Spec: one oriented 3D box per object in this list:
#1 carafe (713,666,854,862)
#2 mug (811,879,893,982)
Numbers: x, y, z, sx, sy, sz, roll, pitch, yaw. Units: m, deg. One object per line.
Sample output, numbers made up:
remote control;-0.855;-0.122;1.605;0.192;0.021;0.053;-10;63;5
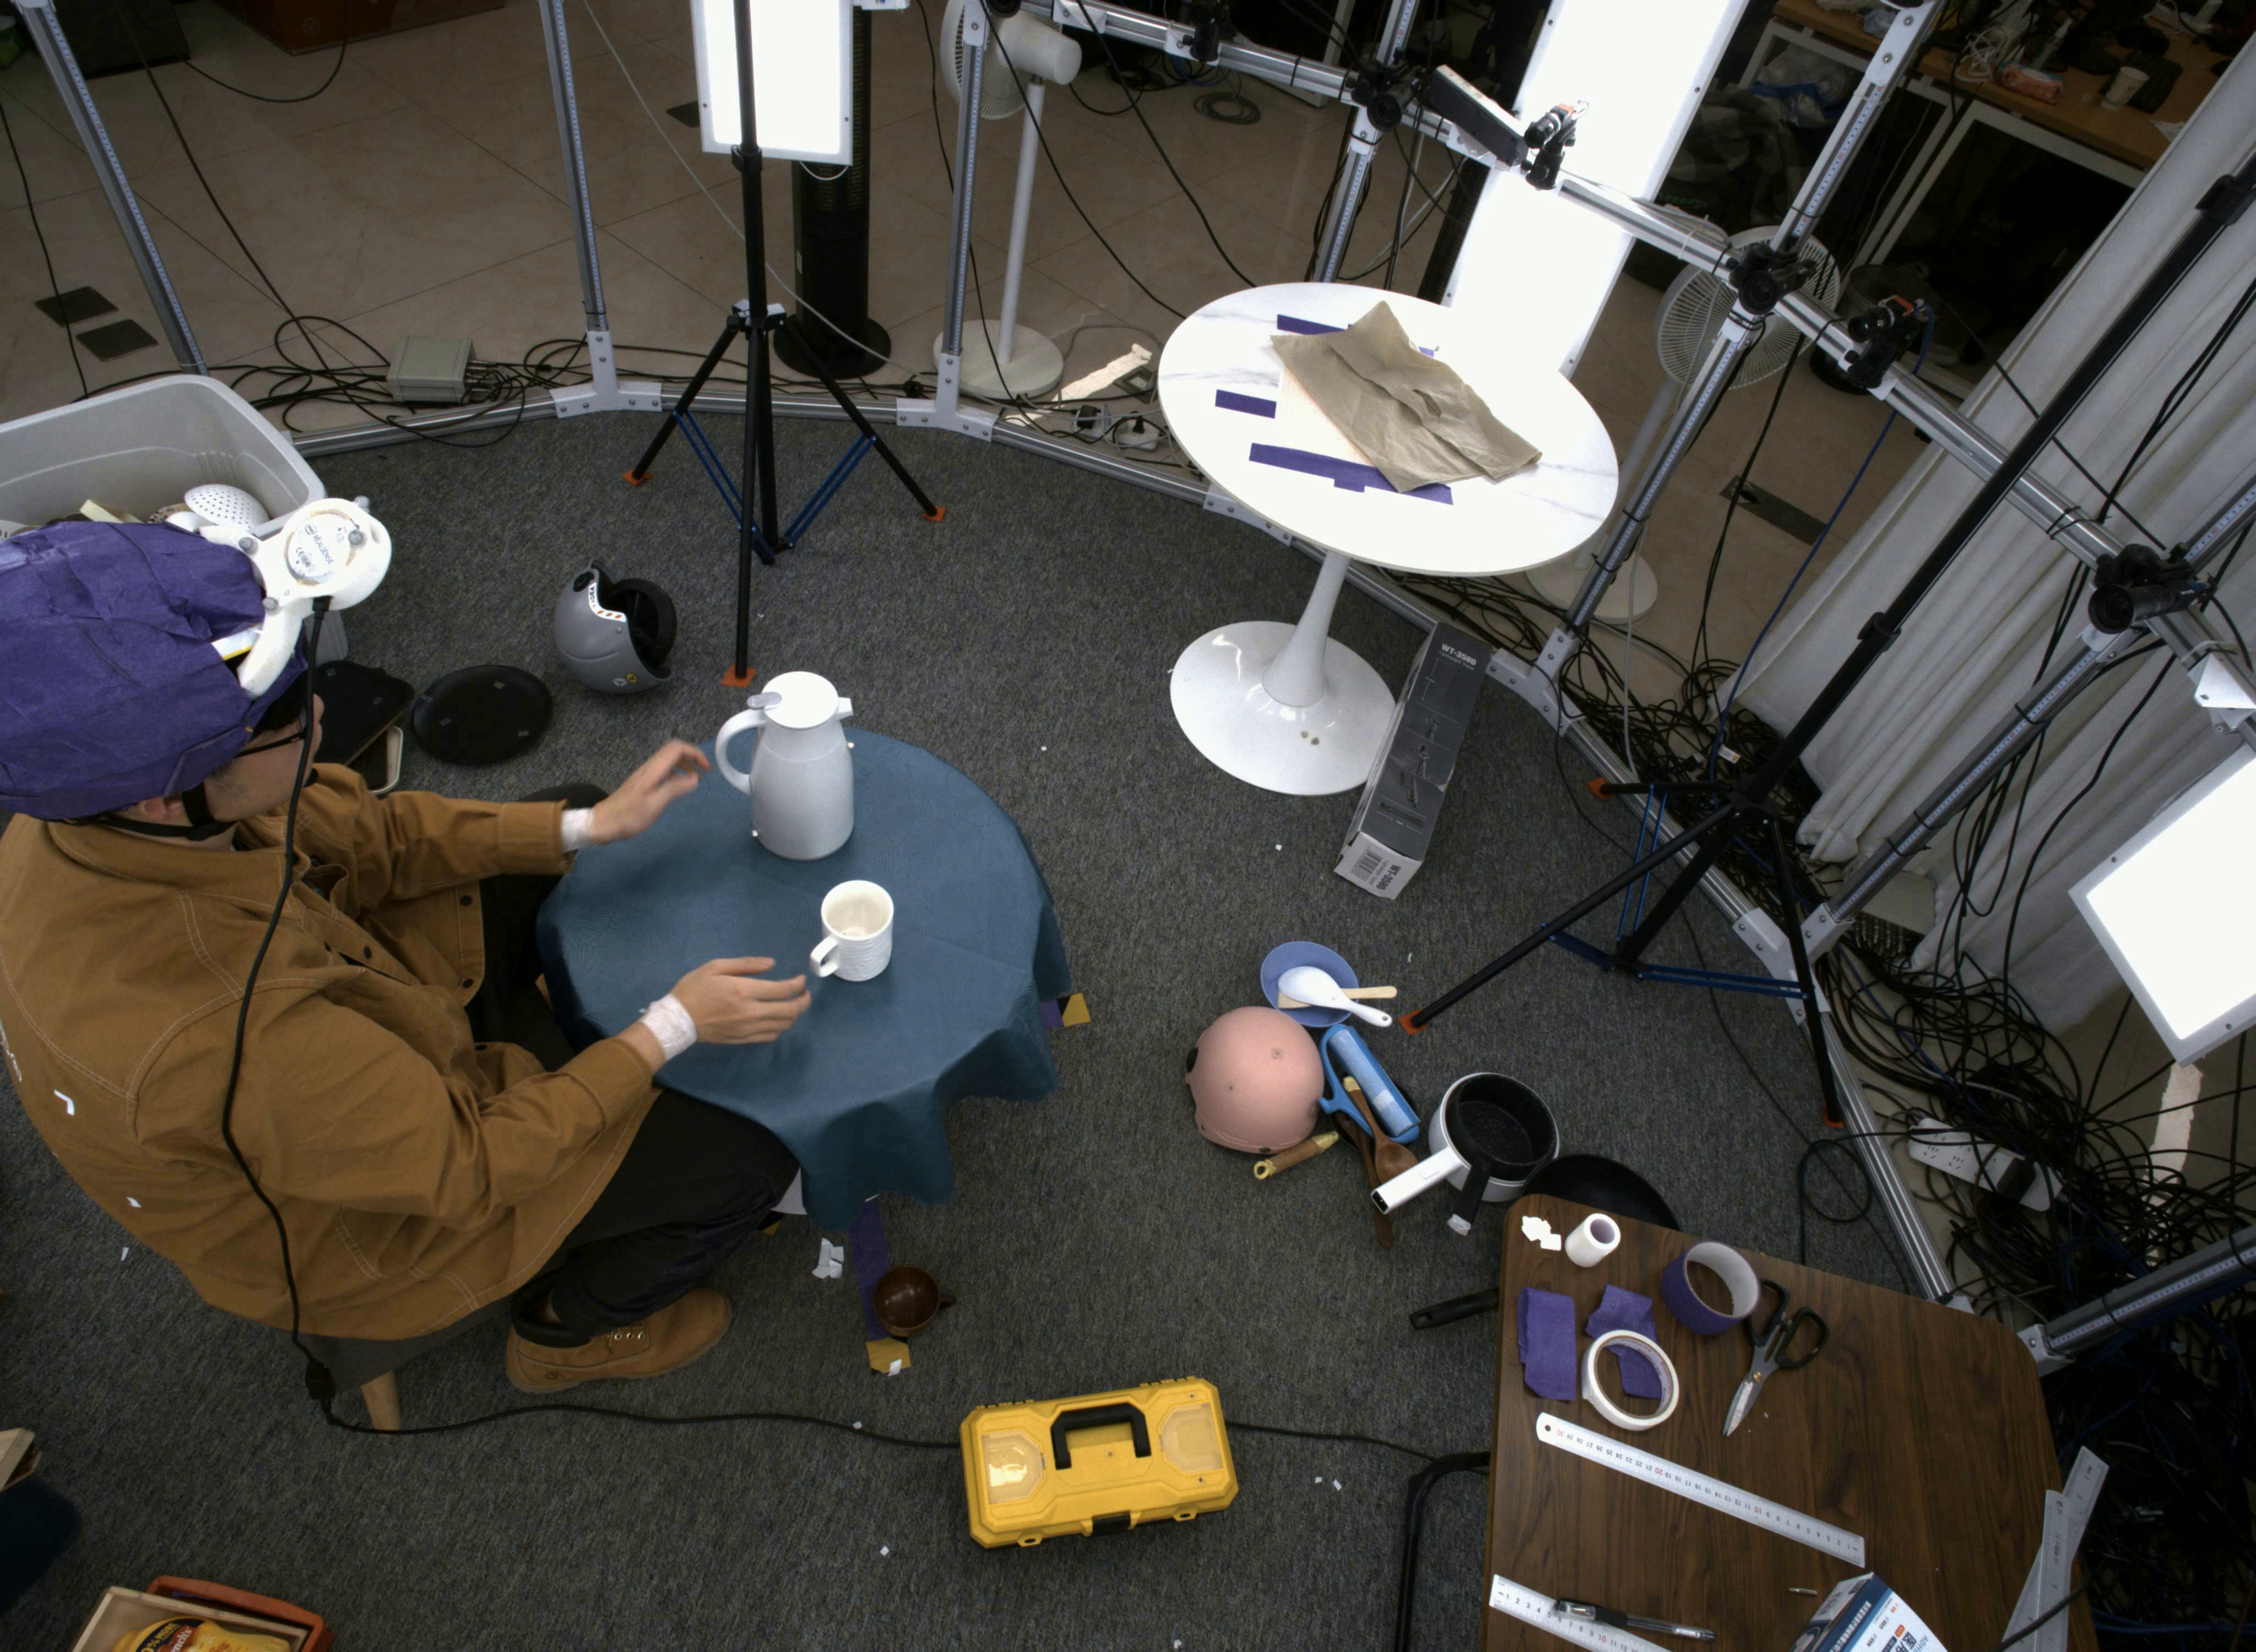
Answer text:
carafe;-0.430;-0.081;1.620;0.168;0.254;0.129;-7;55;-17
mug;-0.339;0.137;1.574;0.083;0.104;0.118;33;53;13
